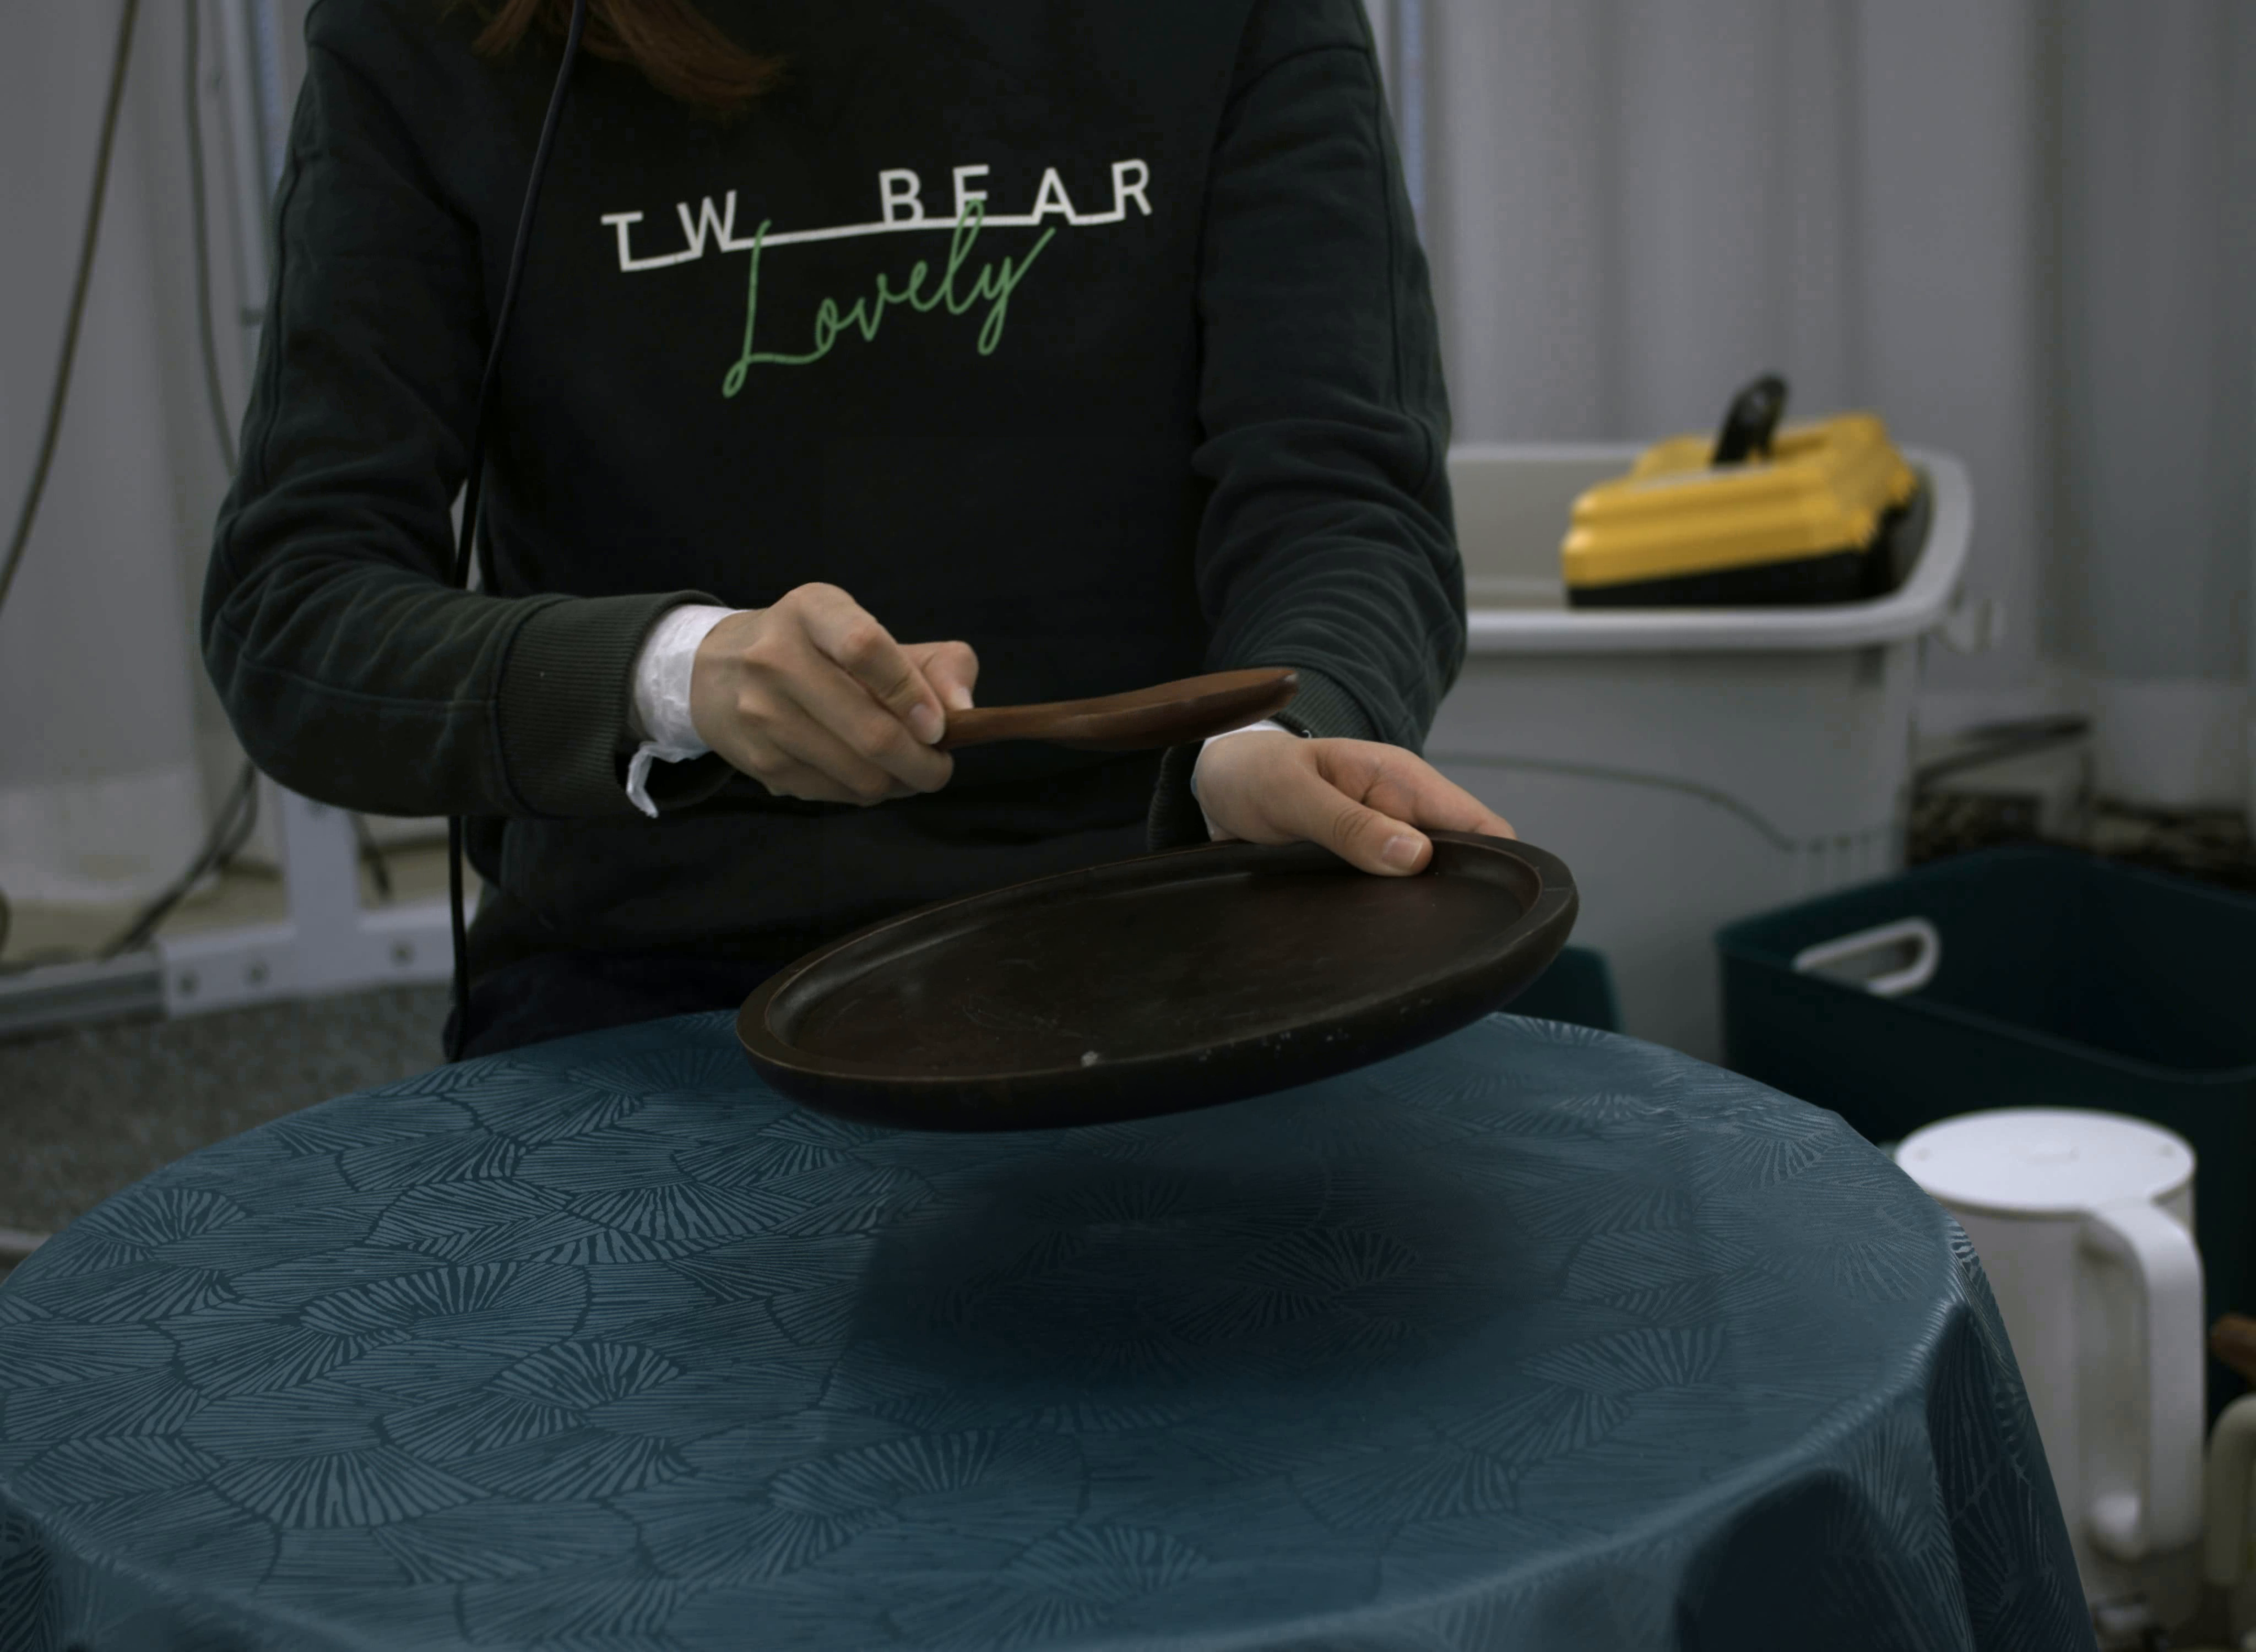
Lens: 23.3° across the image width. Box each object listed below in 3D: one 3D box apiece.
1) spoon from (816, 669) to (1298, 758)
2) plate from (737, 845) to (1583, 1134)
[{"bbox_3d":[-0.028,-0.032,1.729,0.075,0.017,0.216,-16,8,-39],"label":"spoon"},{"bbox_3d":[0.010,0.046,1.620,0.254,0.029,0.256,-9,13,2],"label":"plate"}]
